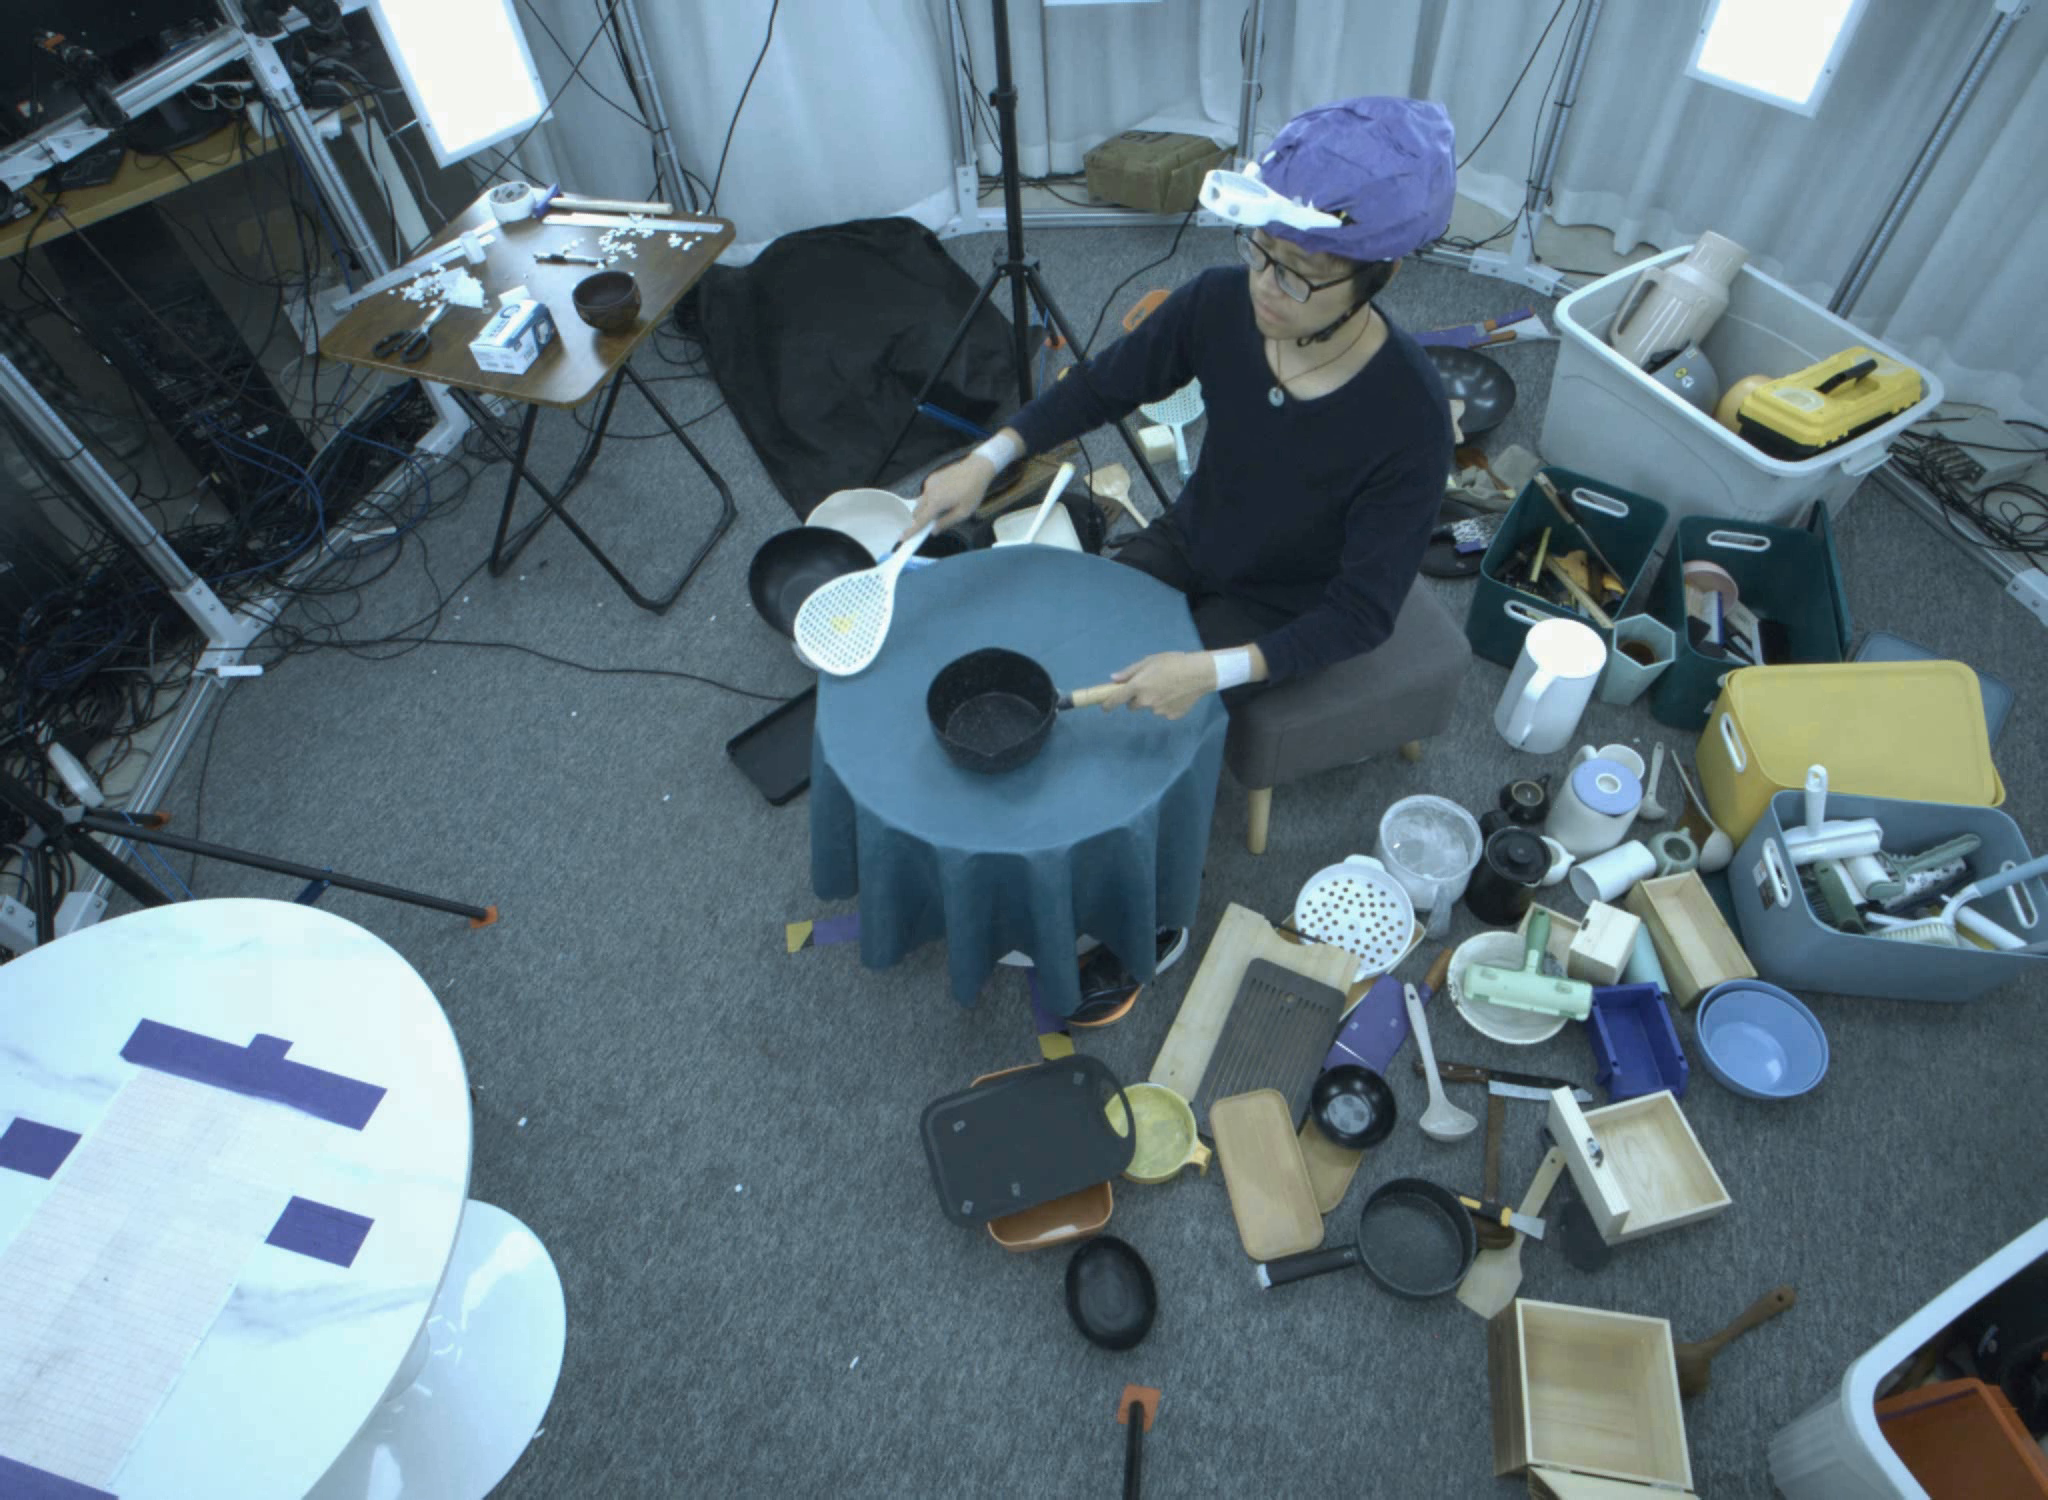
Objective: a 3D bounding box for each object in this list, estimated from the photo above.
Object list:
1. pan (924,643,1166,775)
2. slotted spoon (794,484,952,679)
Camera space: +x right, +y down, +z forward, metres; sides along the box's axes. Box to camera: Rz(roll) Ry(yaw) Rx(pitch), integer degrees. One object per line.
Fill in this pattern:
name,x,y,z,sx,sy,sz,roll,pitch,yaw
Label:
pan,0.032,-0.062,1.763,0.343,0.109,0.205,-4,53,1
slotted spoon,-0.214,-0.266,1.864,0.139,0.049,0.348,39,89,-18
